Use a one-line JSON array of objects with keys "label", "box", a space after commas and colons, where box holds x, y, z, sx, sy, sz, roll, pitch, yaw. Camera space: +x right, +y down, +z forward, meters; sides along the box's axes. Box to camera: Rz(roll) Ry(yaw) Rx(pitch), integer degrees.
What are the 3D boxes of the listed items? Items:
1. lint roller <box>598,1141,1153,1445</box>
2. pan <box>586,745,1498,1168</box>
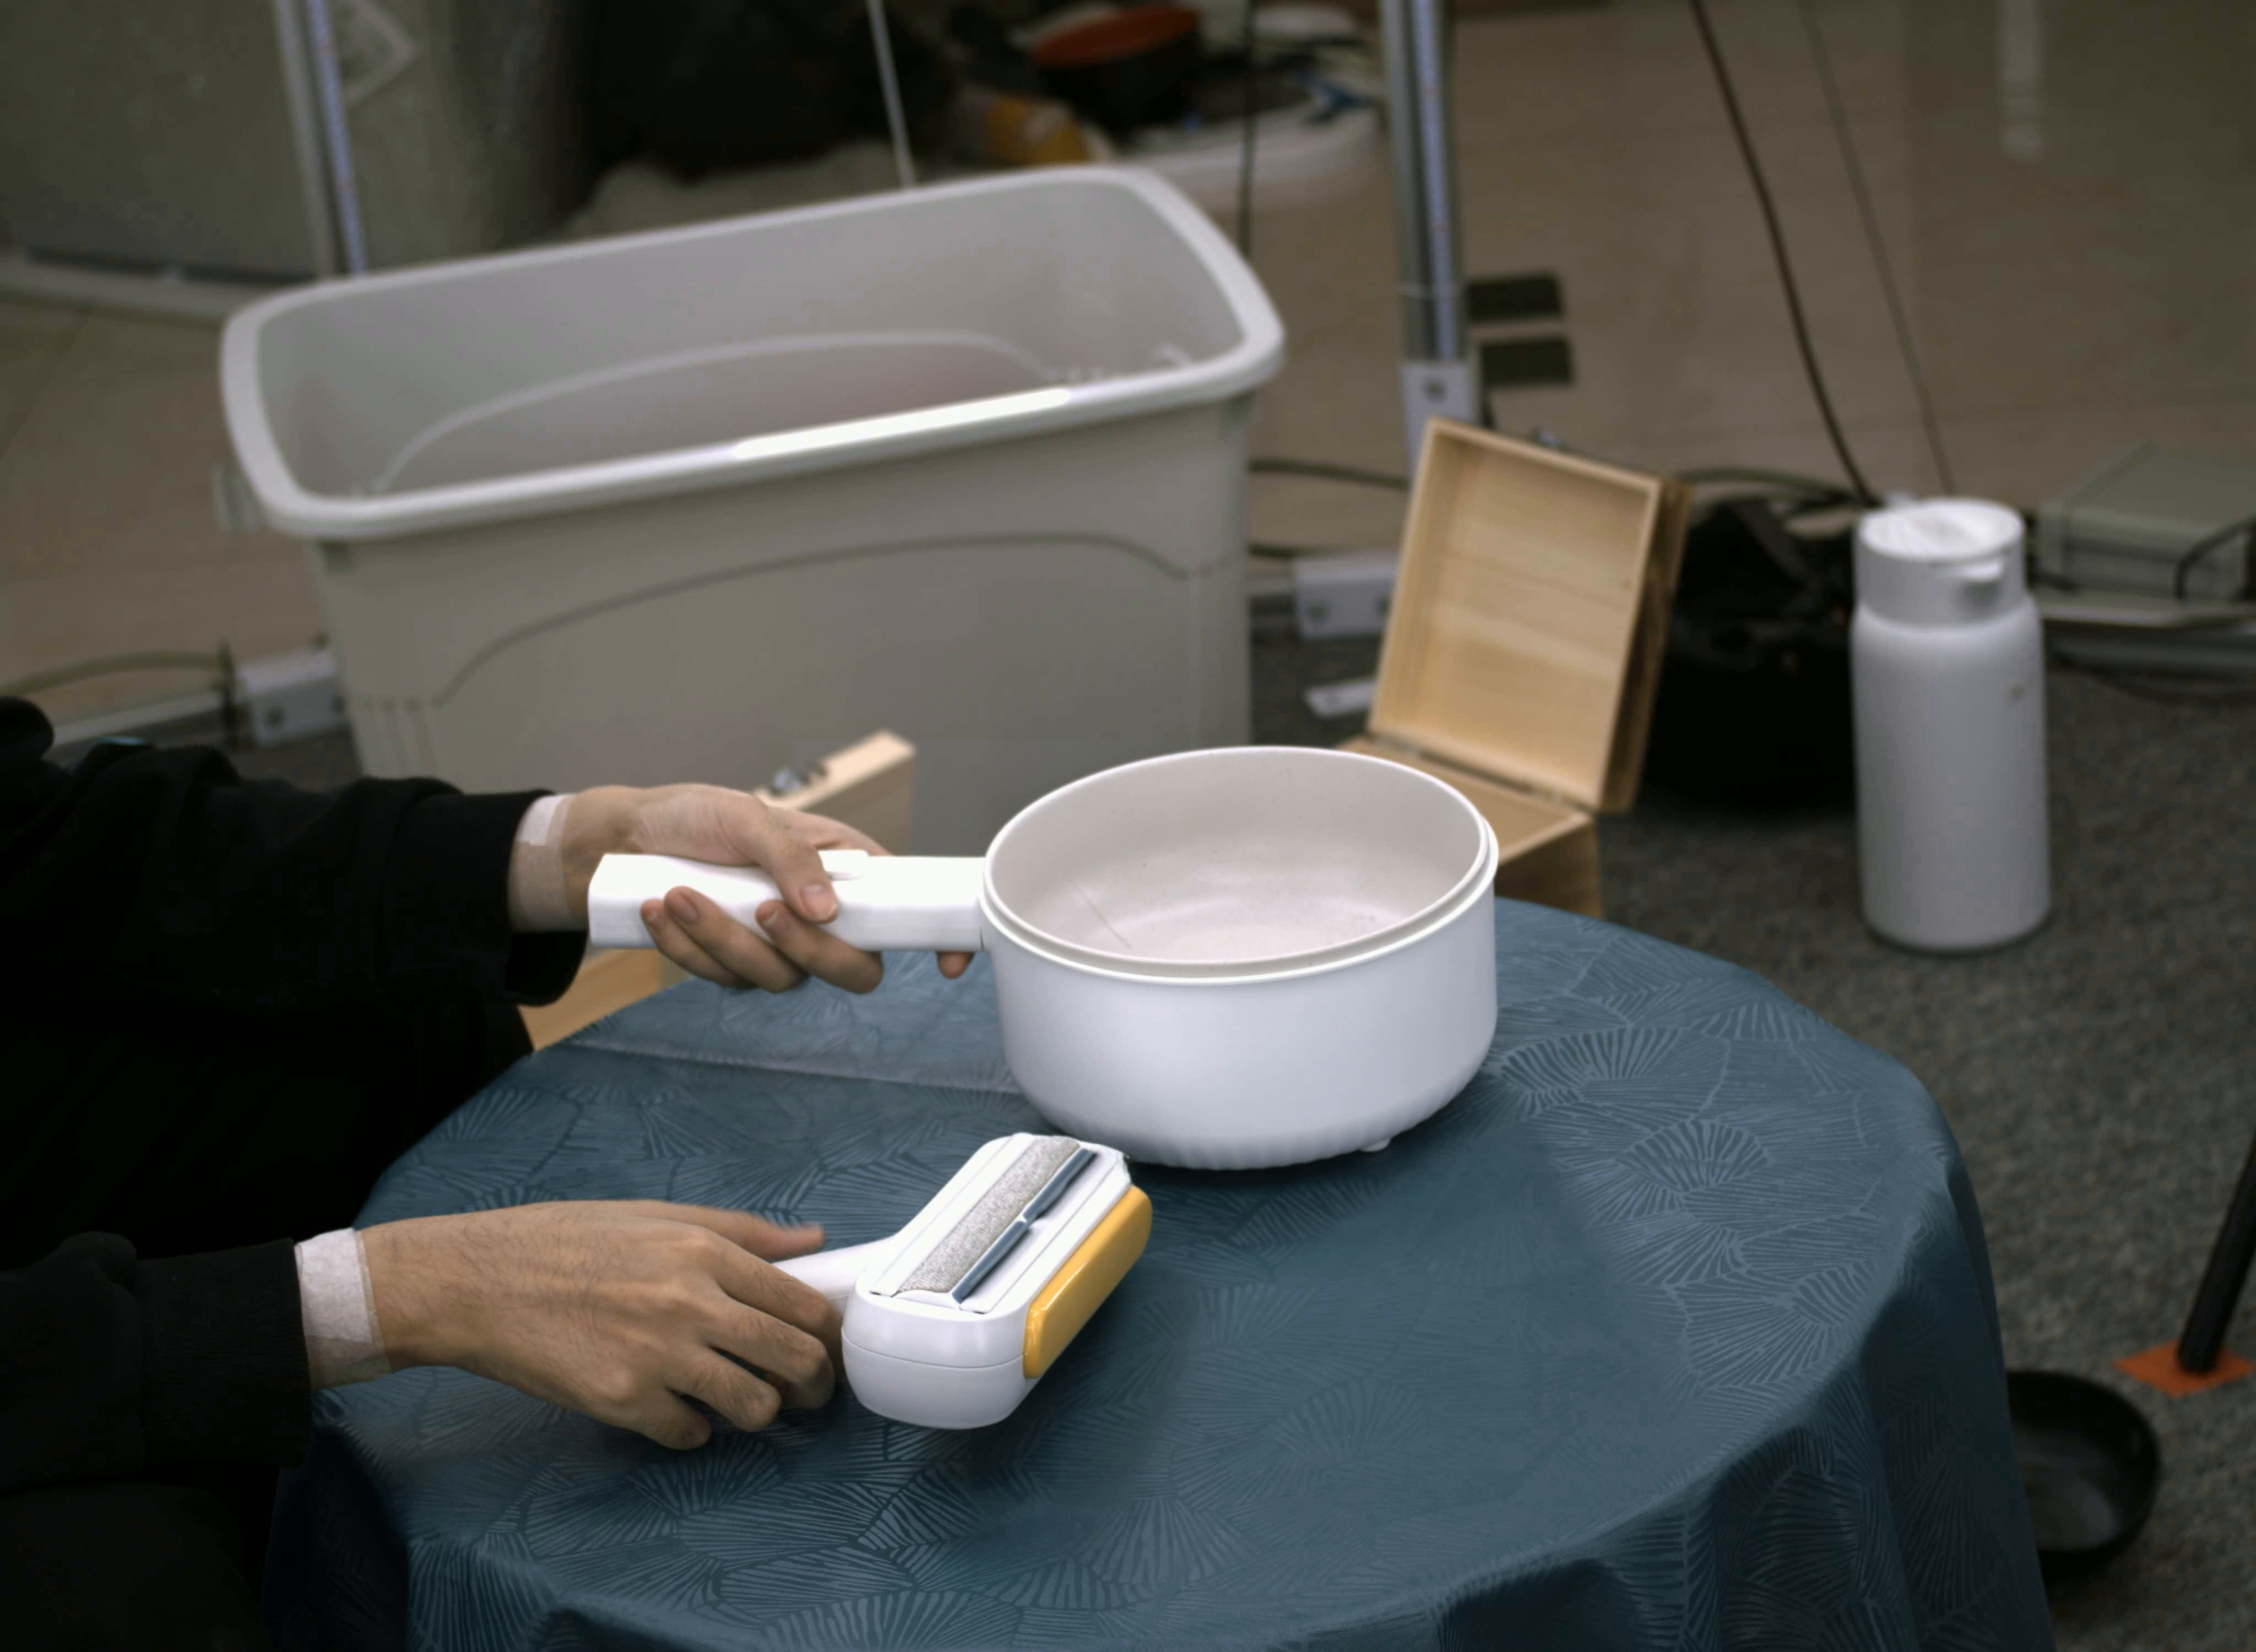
[{"label": "lint roller", "box": [-0.103, 0.167, 2.028, 0.192, 0.075, 0.190, 1, 21, 20]}, {"label": "pan", "box": [-0.031, 0.055, 2.200, 0.354, 0.104, 0.198, -1, 25, 9]}]
